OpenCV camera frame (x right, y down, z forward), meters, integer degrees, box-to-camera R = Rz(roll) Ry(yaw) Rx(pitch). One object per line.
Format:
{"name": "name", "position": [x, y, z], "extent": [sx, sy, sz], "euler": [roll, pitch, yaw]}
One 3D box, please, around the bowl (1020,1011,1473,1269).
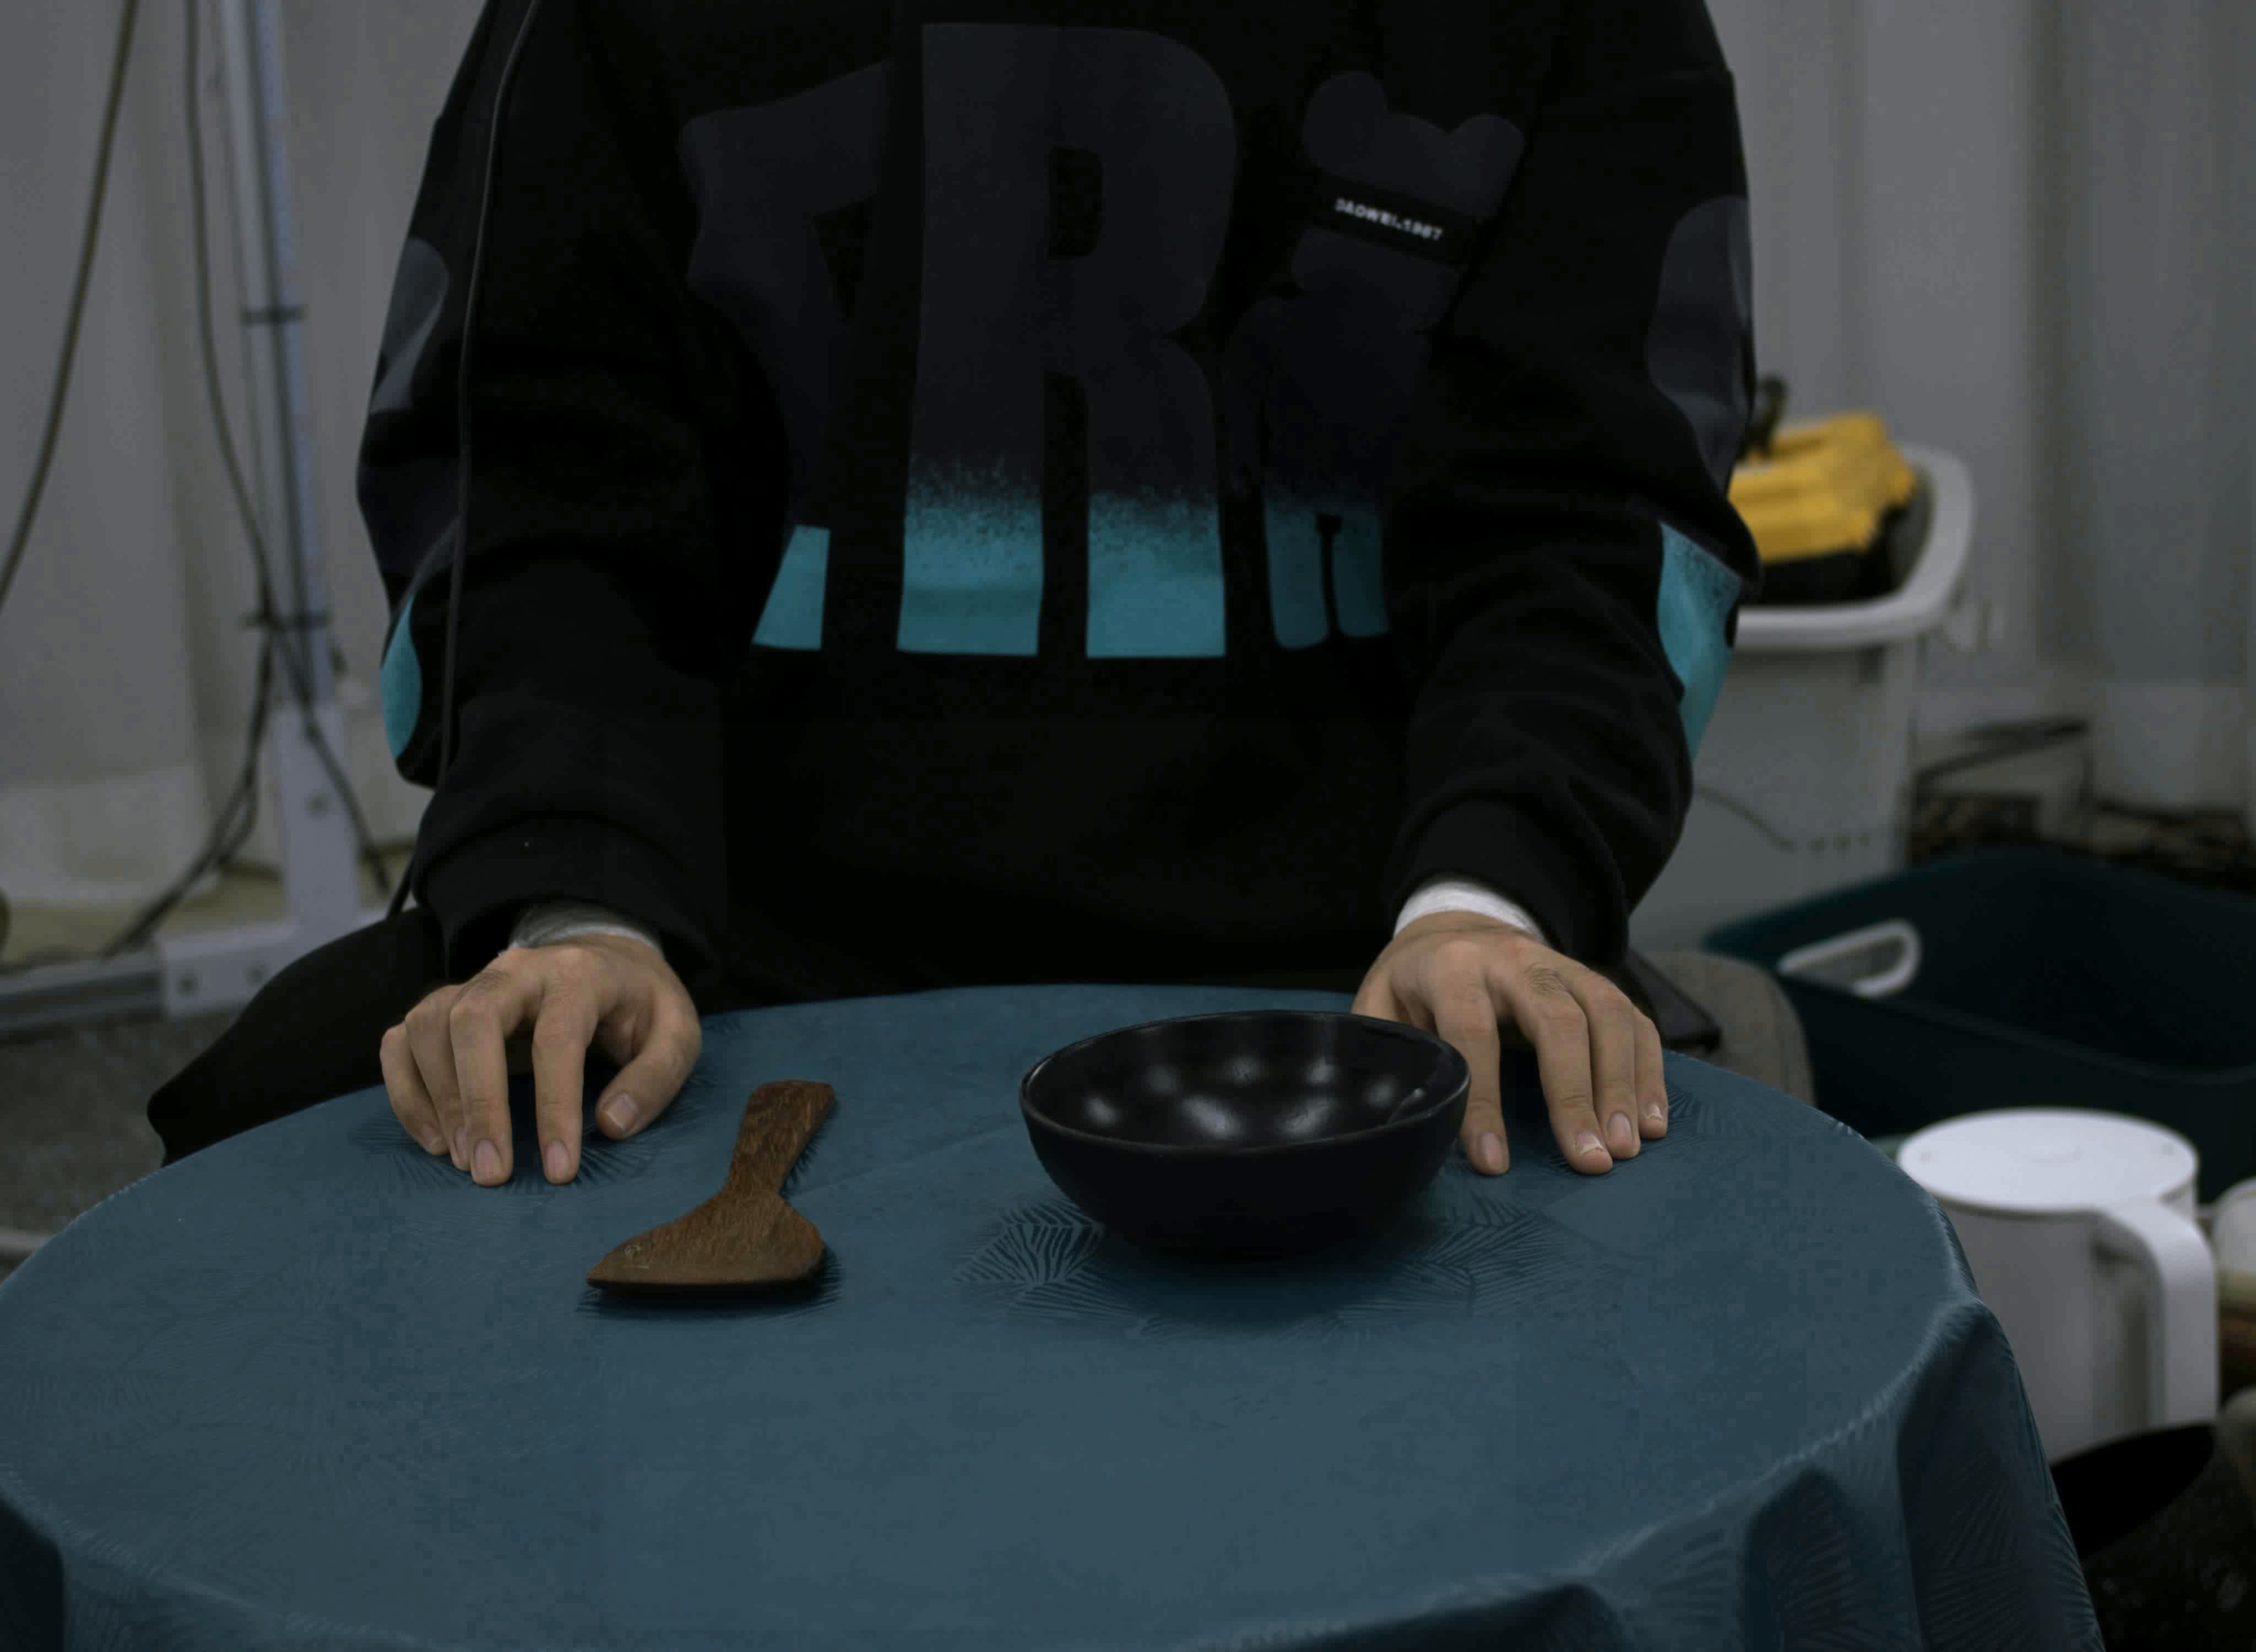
{"name": "bowl", "position": [0.038, 0.100, 1.669], "extent": [0.139, 0.049, 0.141], "euler": [-5, 14, 1]}

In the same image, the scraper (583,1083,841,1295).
{"name": "scraper", "position": [-0.118, 0.114, 1.725], "extent": [0.075, 0.011, 0.212], "euler": [-1, 14, 5]}
